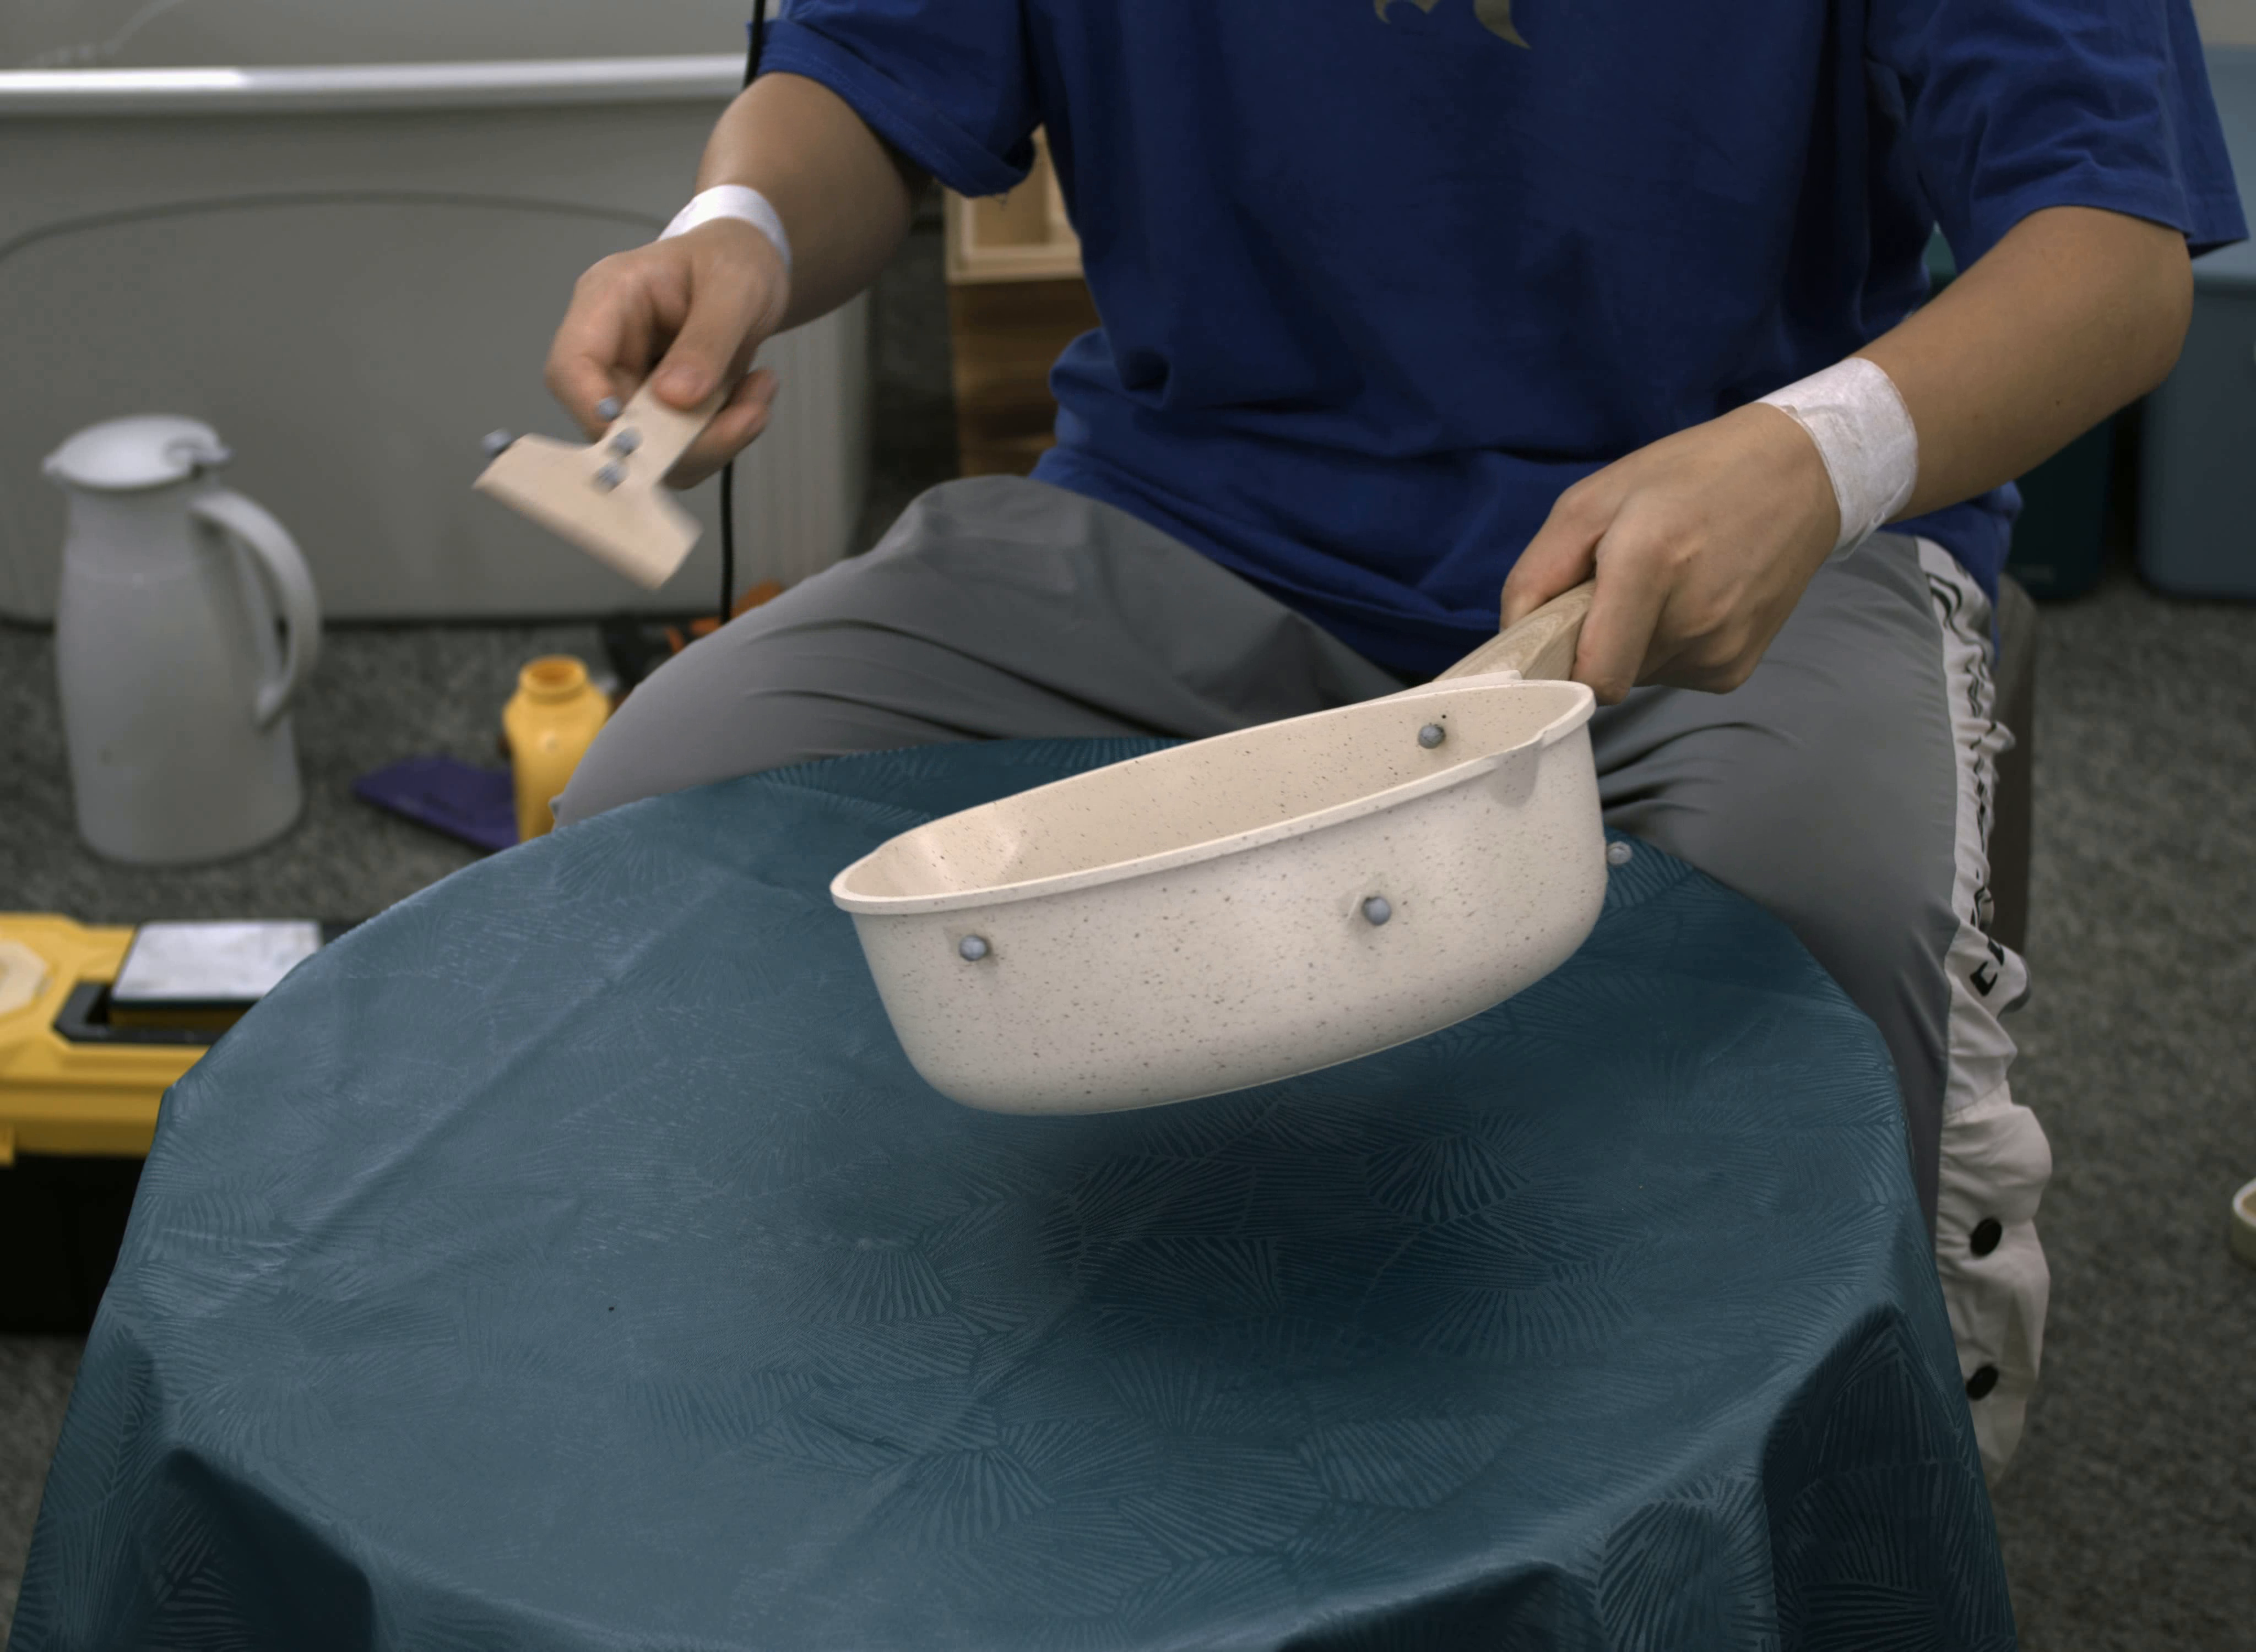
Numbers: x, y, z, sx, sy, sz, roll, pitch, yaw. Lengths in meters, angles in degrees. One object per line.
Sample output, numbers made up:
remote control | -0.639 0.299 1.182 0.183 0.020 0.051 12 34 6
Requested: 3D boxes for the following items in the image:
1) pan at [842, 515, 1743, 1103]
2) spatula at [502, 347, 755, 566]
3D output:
pan | 0.093 -0.008 1.864 0.260 0.102 0.440 -10 8 40
spatula | -0.163 -0.135 1.962 0.072 0.010 0.296 26 15 -3
